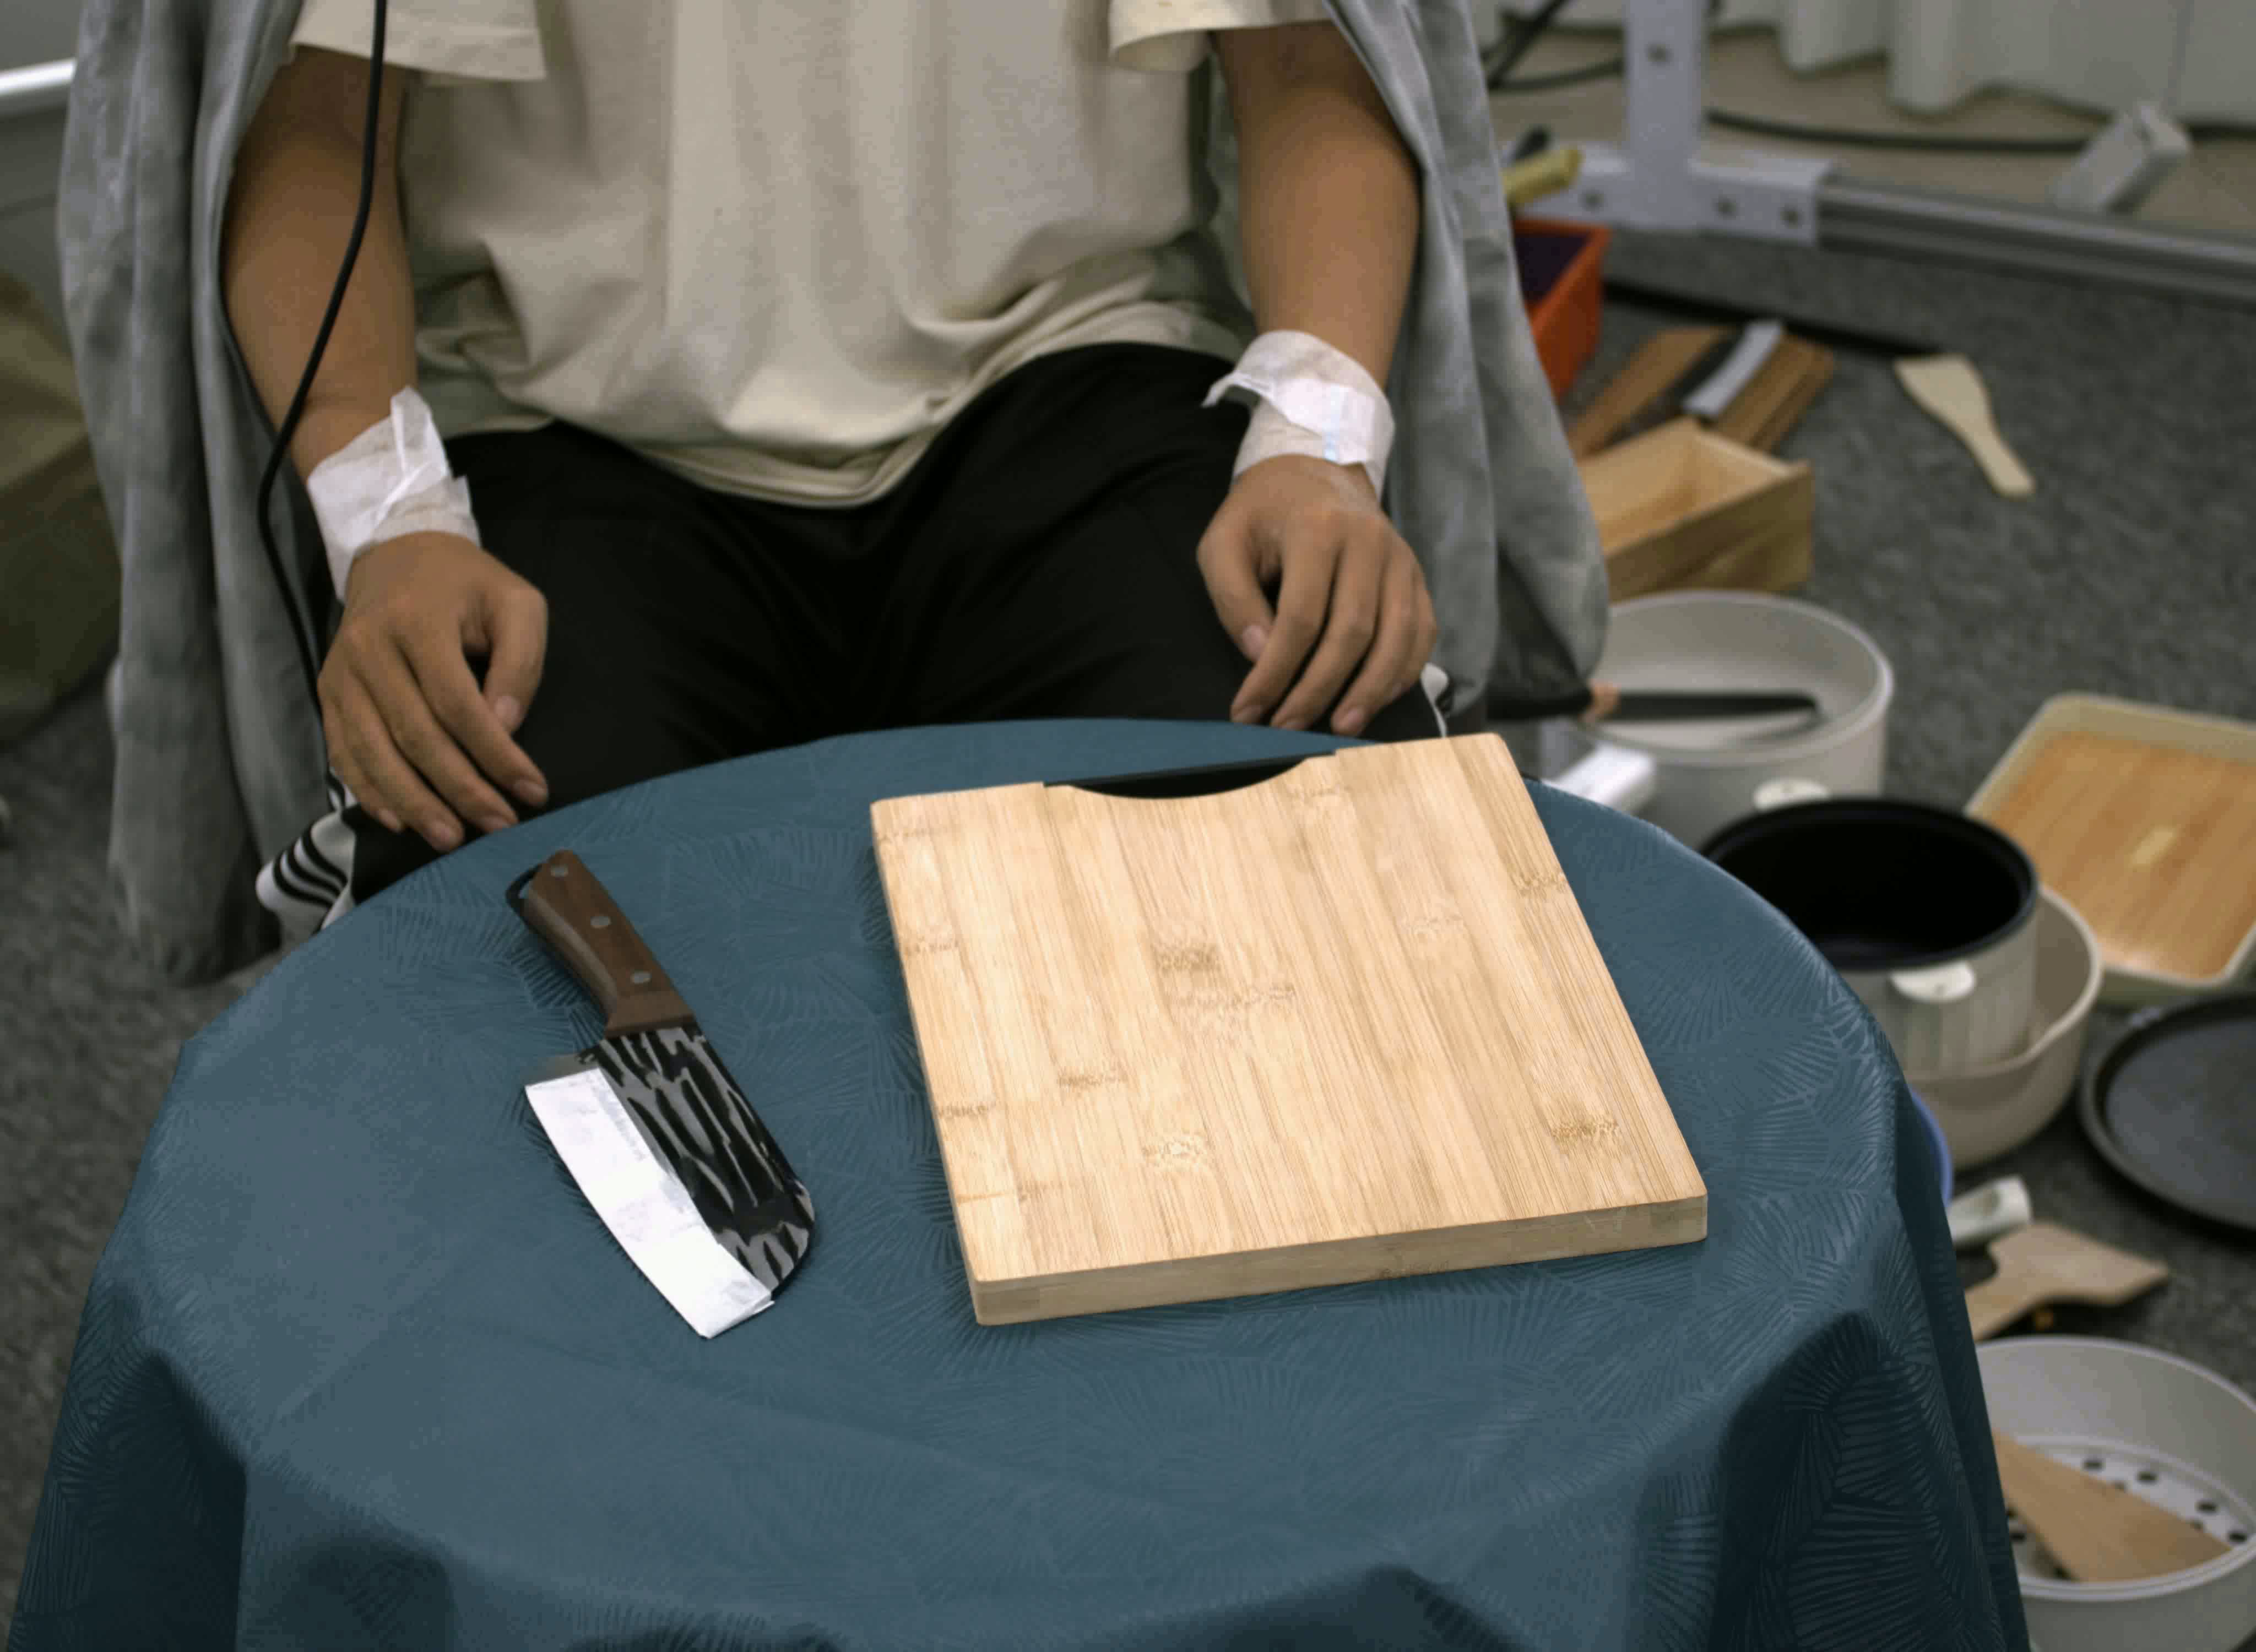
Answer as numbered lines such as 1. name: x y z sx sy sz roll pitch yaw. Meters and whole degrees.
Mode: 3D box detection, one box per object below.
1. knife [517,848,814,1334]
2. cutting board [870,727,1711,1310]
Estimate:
1. knife: -0.170 0.089 1.920 0.068 0.023 0.302 -14 32 -17
2. cutting board: 0.046 0.061 1.955 0.250 0.023 0.353 -6 27 -7
